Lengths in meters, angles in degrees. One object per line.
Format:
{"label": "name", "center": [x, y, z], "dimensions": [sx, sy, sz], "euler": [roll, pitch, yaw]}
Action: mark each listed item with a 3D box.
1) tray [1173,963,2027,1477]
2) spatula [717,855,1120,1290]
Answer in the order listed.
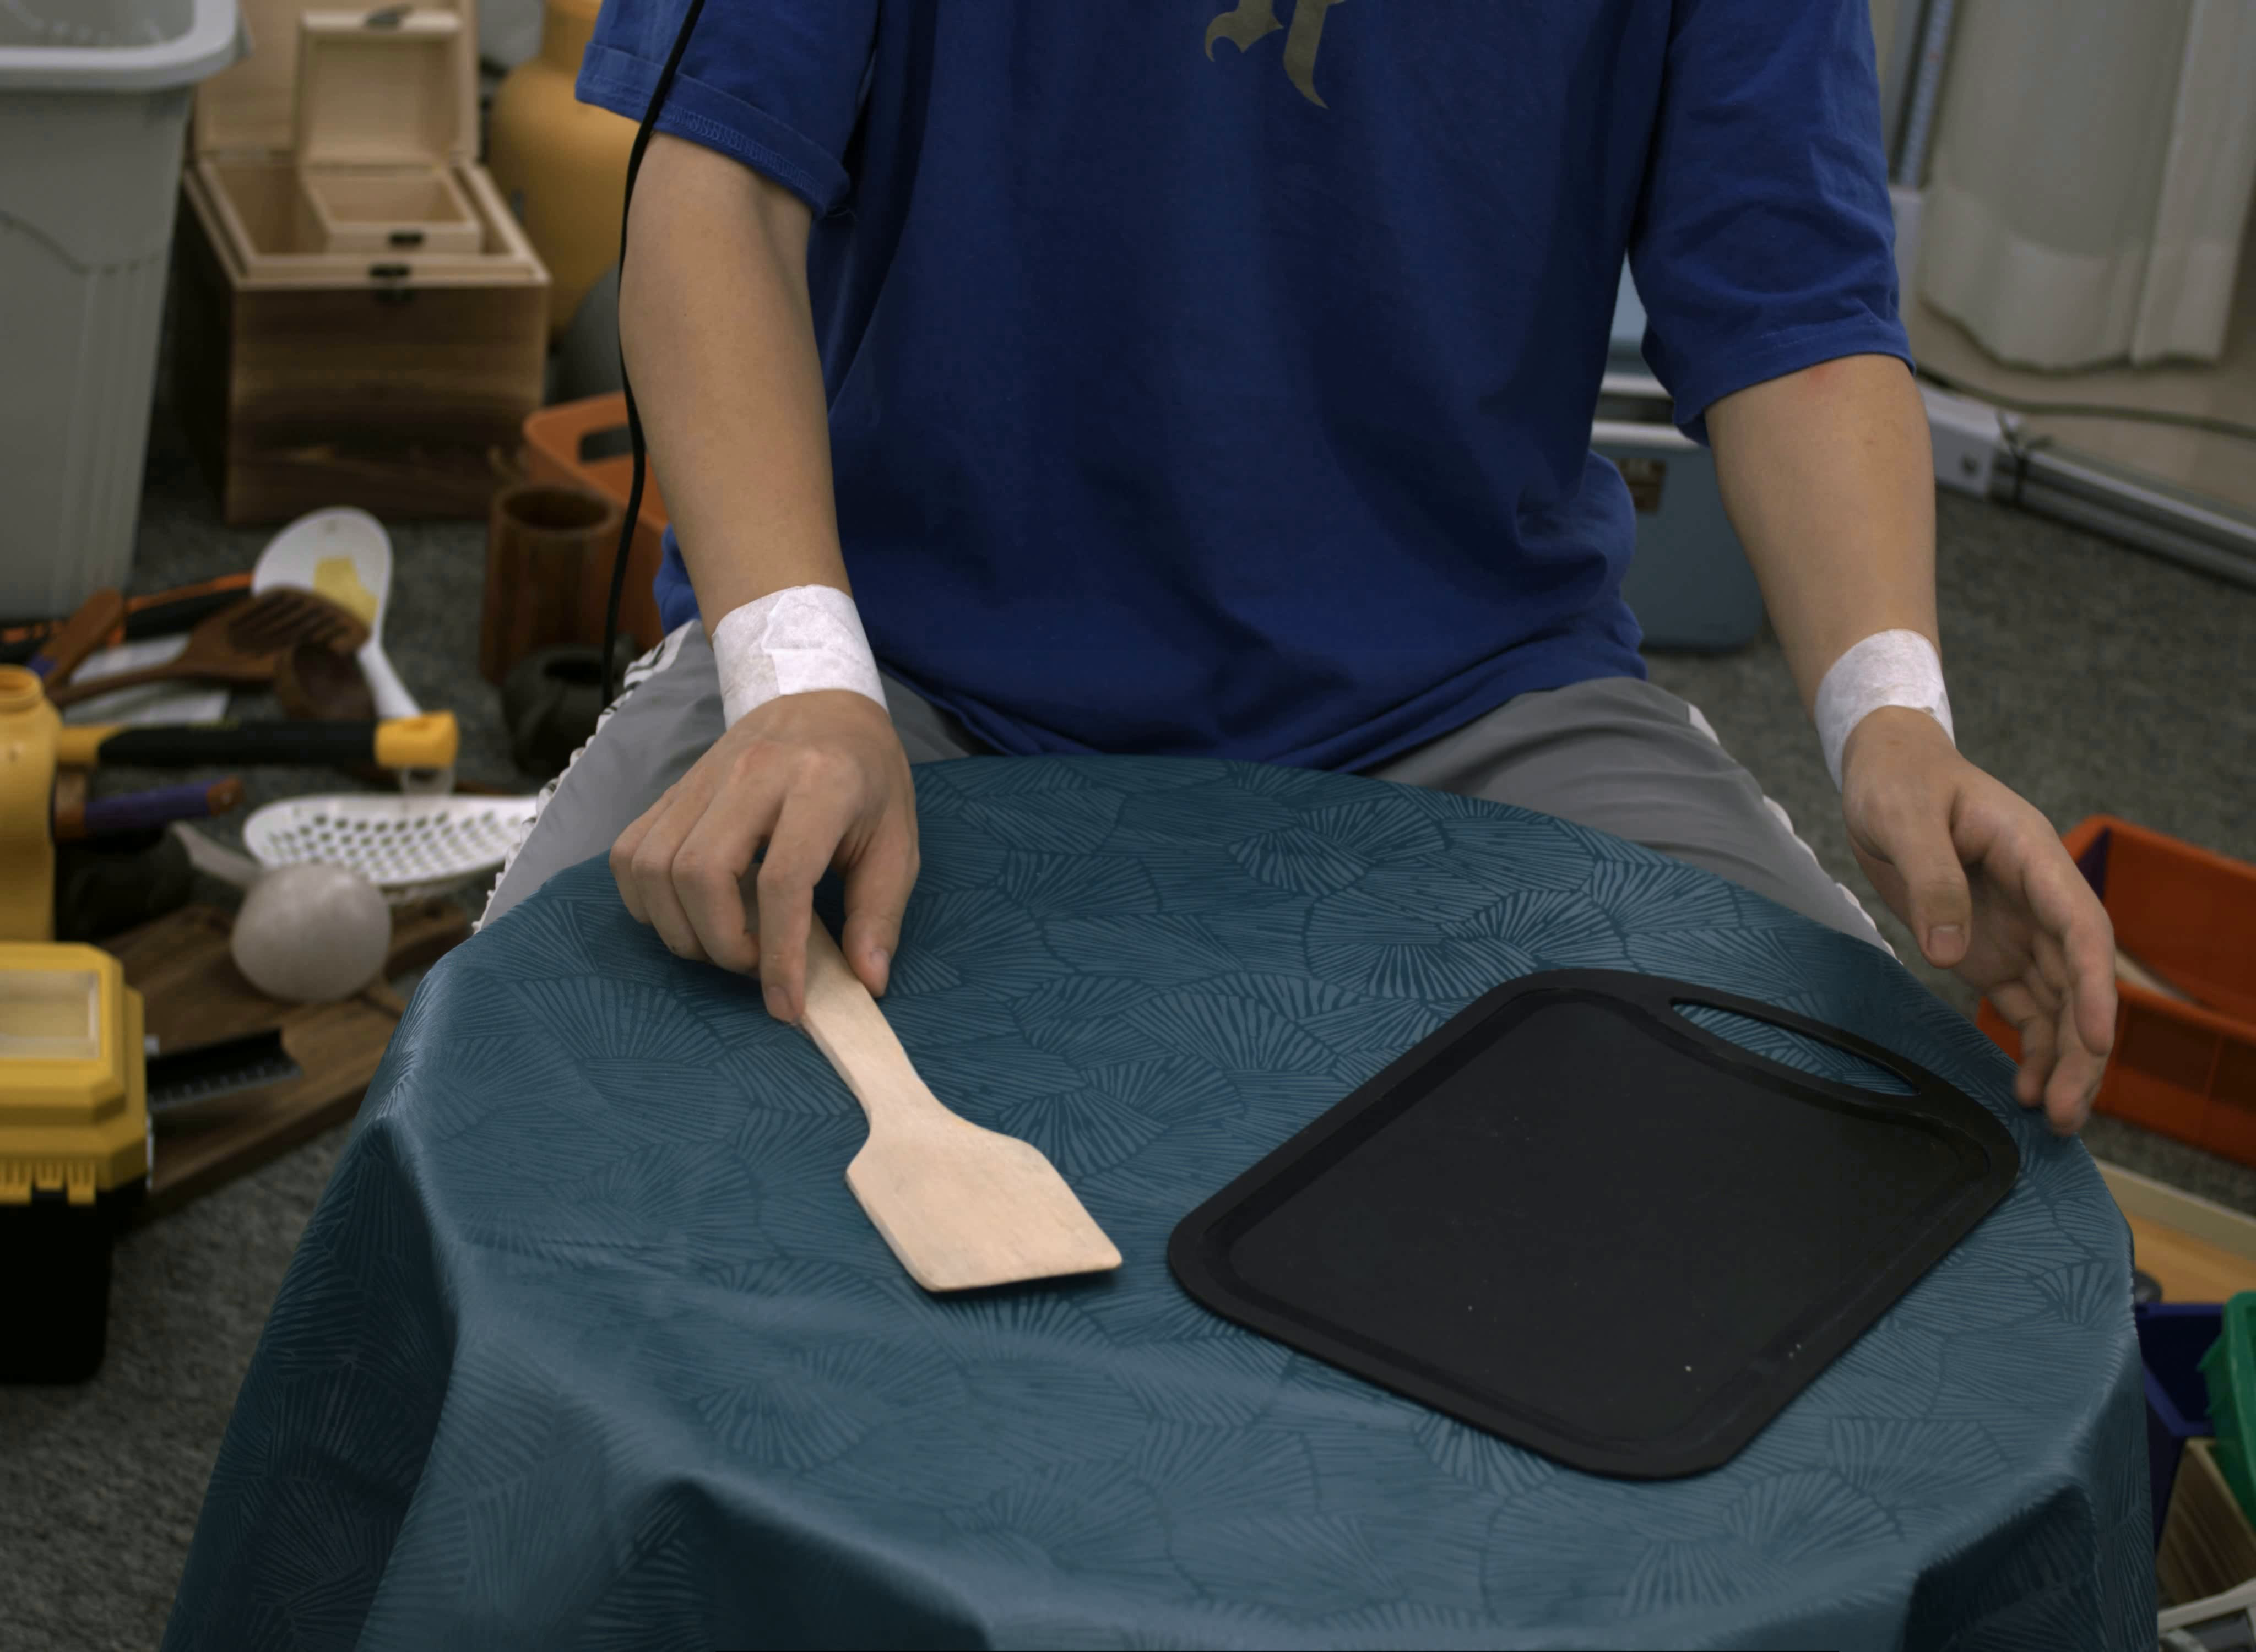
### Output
{"label": "tray", "center": [0.170, 0.124, 1.831], "dimensions": [0.212, 0.010, 0.324], "euler": [21, 31, 27]}
{"label": "spatula", "center": [-0.088, 0.082, 1.856], "dimensions": [0.072, 0.010, 0.296], "euler": [-6, 30, -22]}
